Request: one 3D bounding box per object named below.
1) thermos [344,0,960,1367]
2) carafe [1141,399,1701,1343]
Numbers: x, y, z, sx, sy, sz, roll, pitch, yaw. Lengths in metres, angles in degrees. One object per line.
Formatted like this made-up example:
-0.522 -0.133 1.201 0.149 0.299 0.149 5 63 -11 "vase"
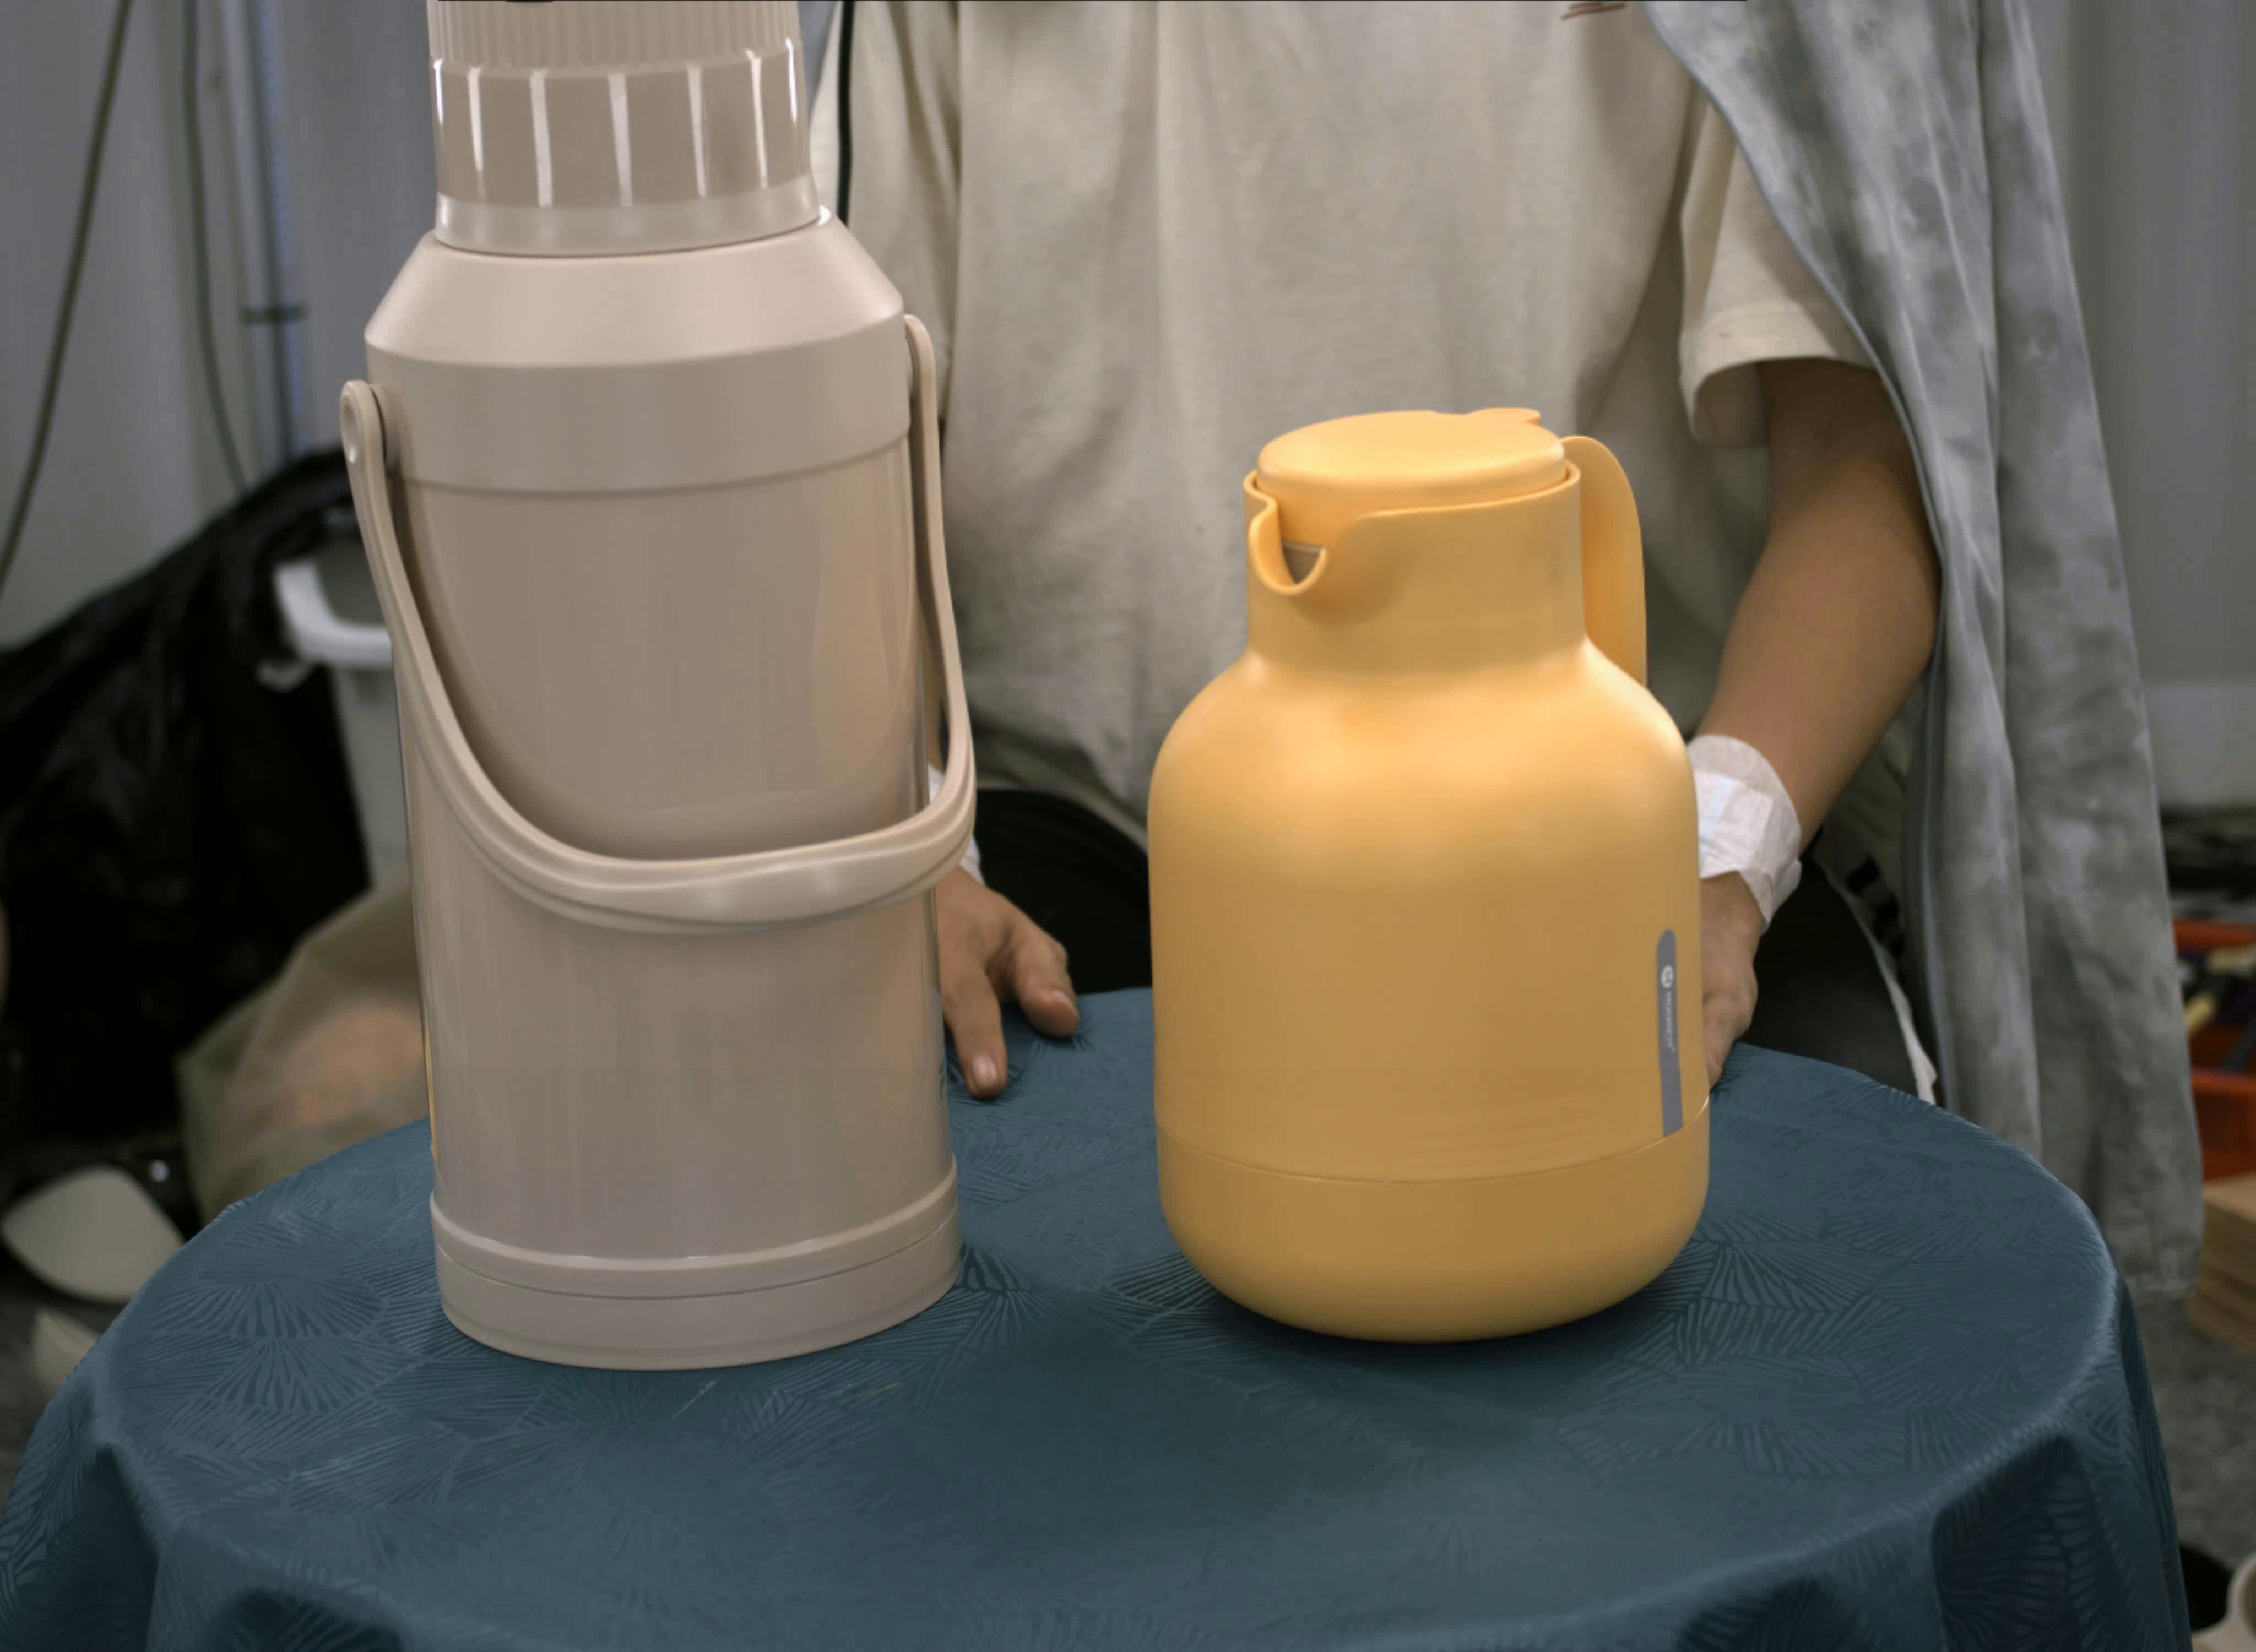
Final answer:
-0.142 -0.058 1.626 0.174 0.404 0.208 -9 16 -22 "thermos"
0.096 0.005 1.609 0.164 0.259 0.202 9 19 33 "carafe"
